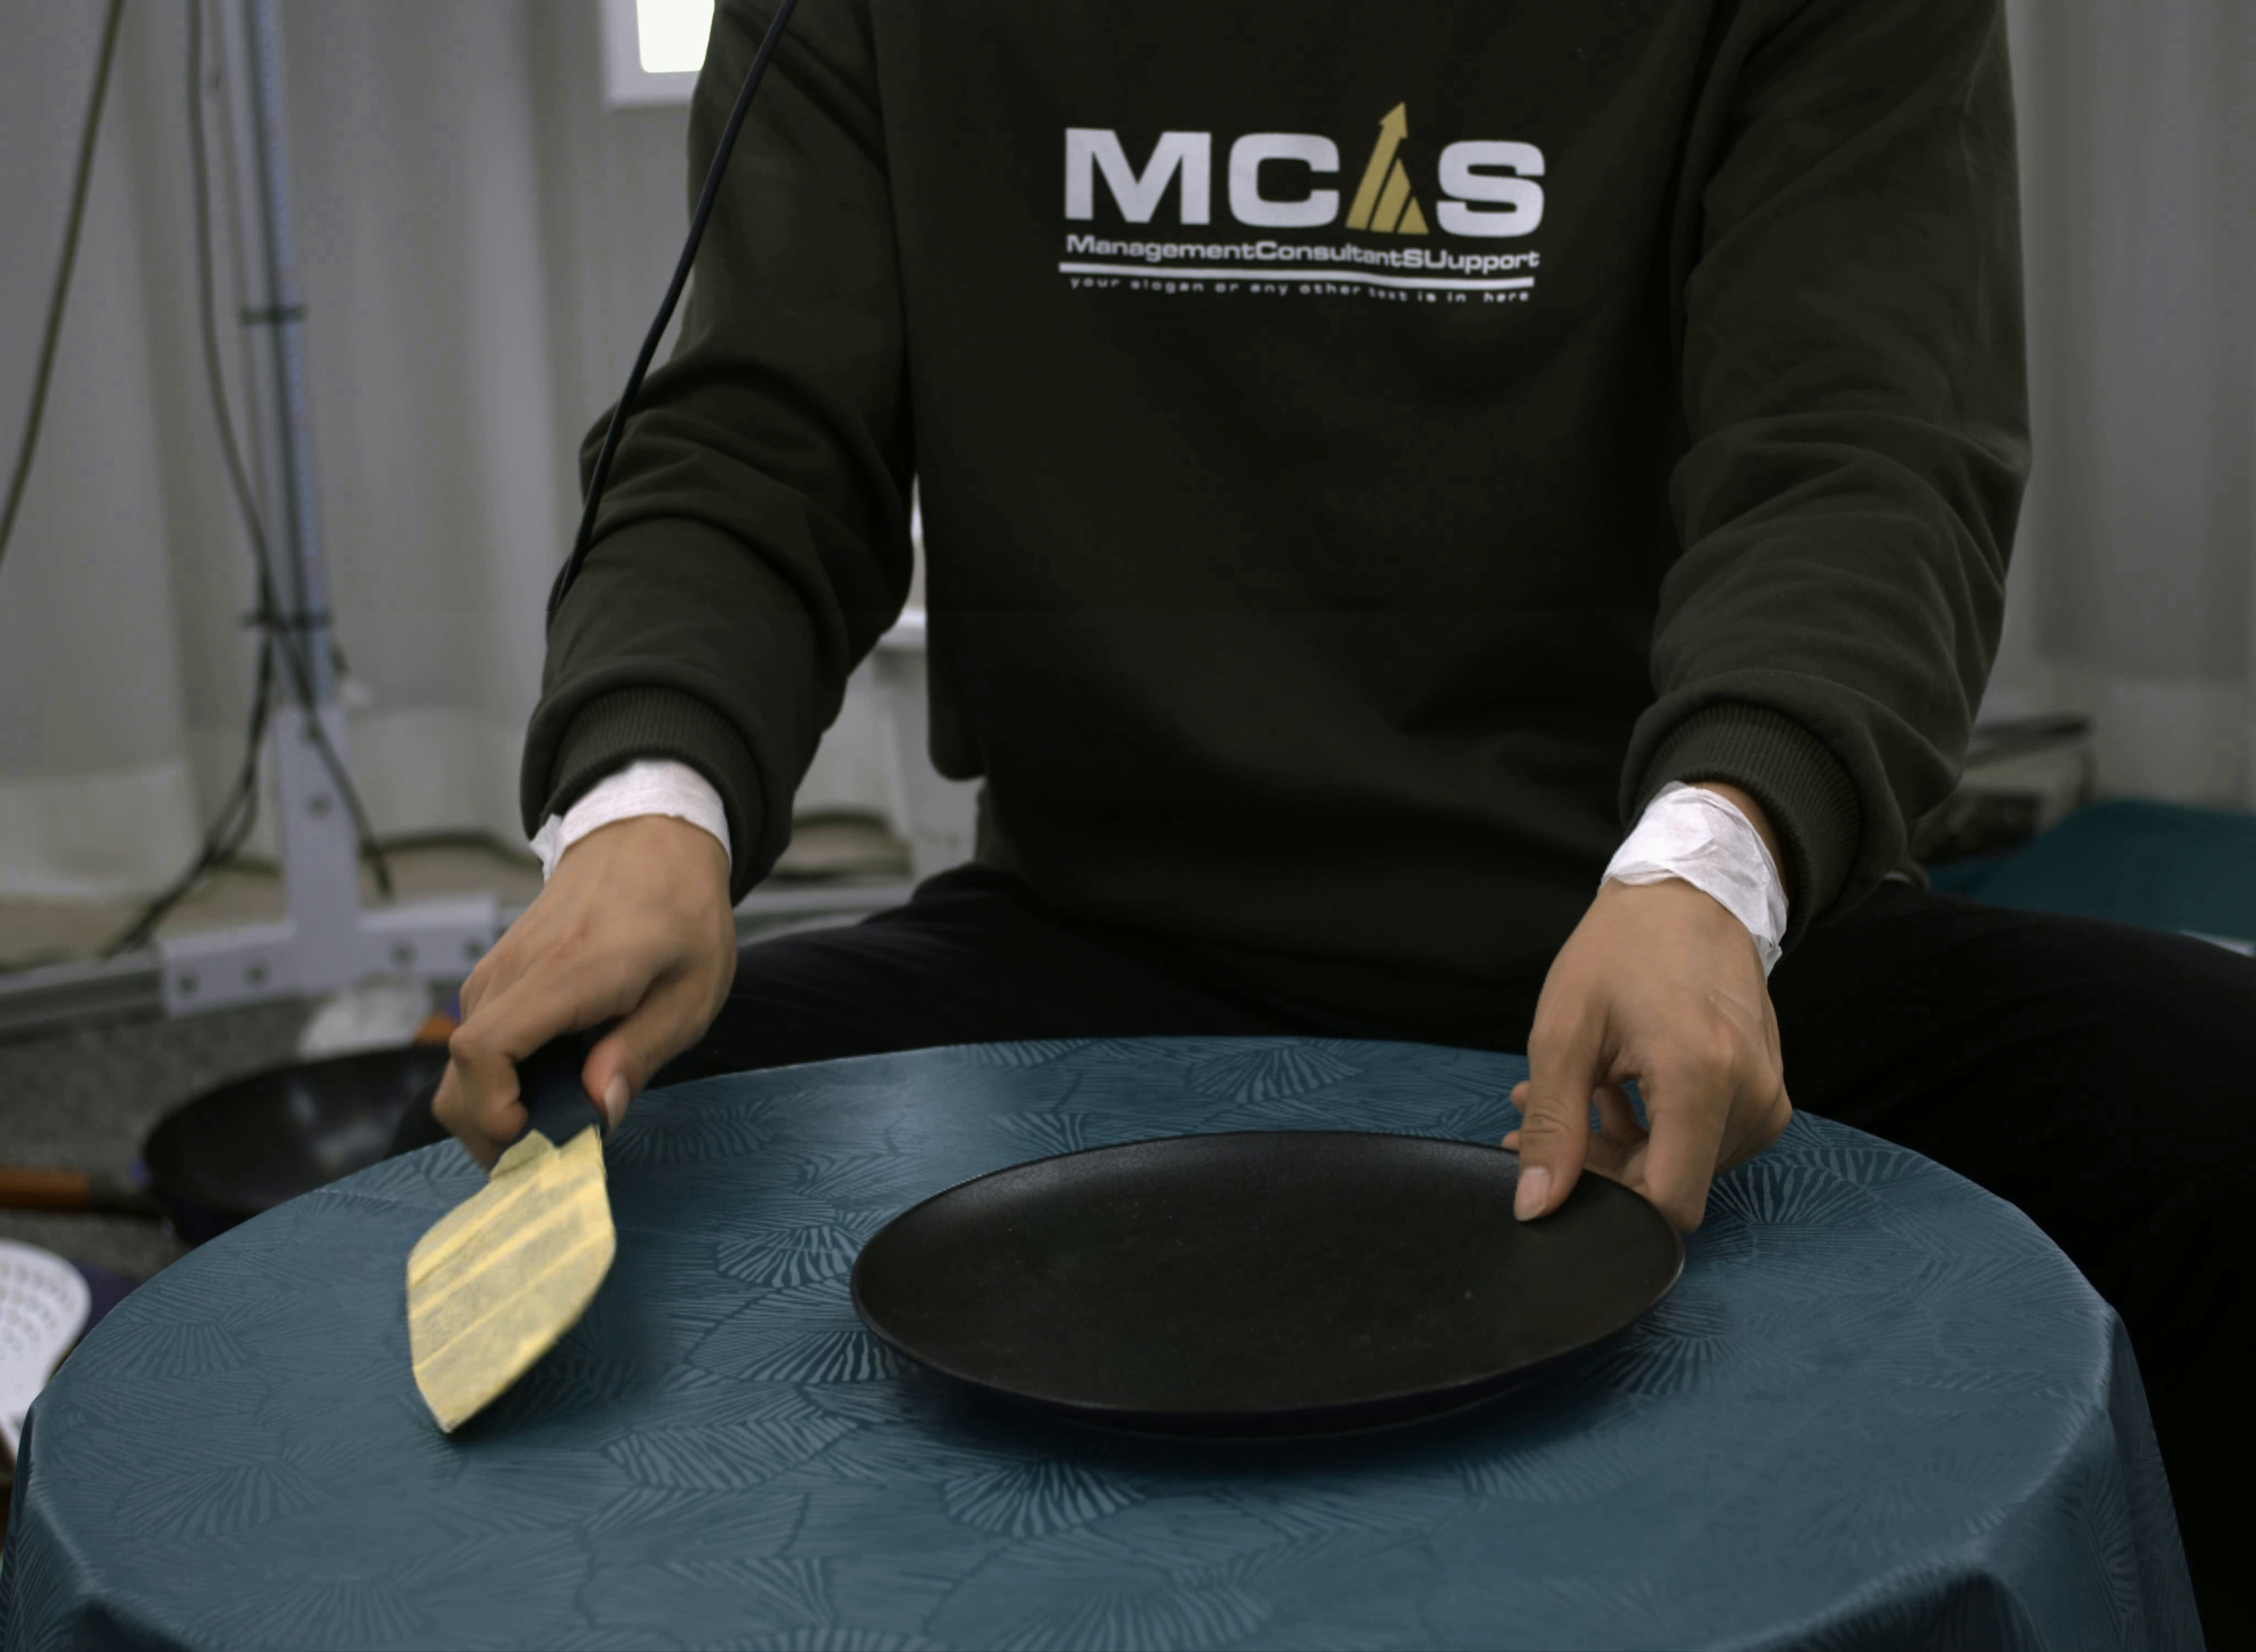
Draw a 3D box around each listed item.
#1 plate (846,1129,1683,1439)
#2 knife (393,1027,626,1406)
[{"bbox_3d":[0.040,0.135,1.587,0.243,0.023,0.246,-3,15,0],"label":"plate"},{"bbox_3d":[-0.189,0.118,1.667,0.081,0.027,0.292,-29,17,3],"label":"knife"}]
